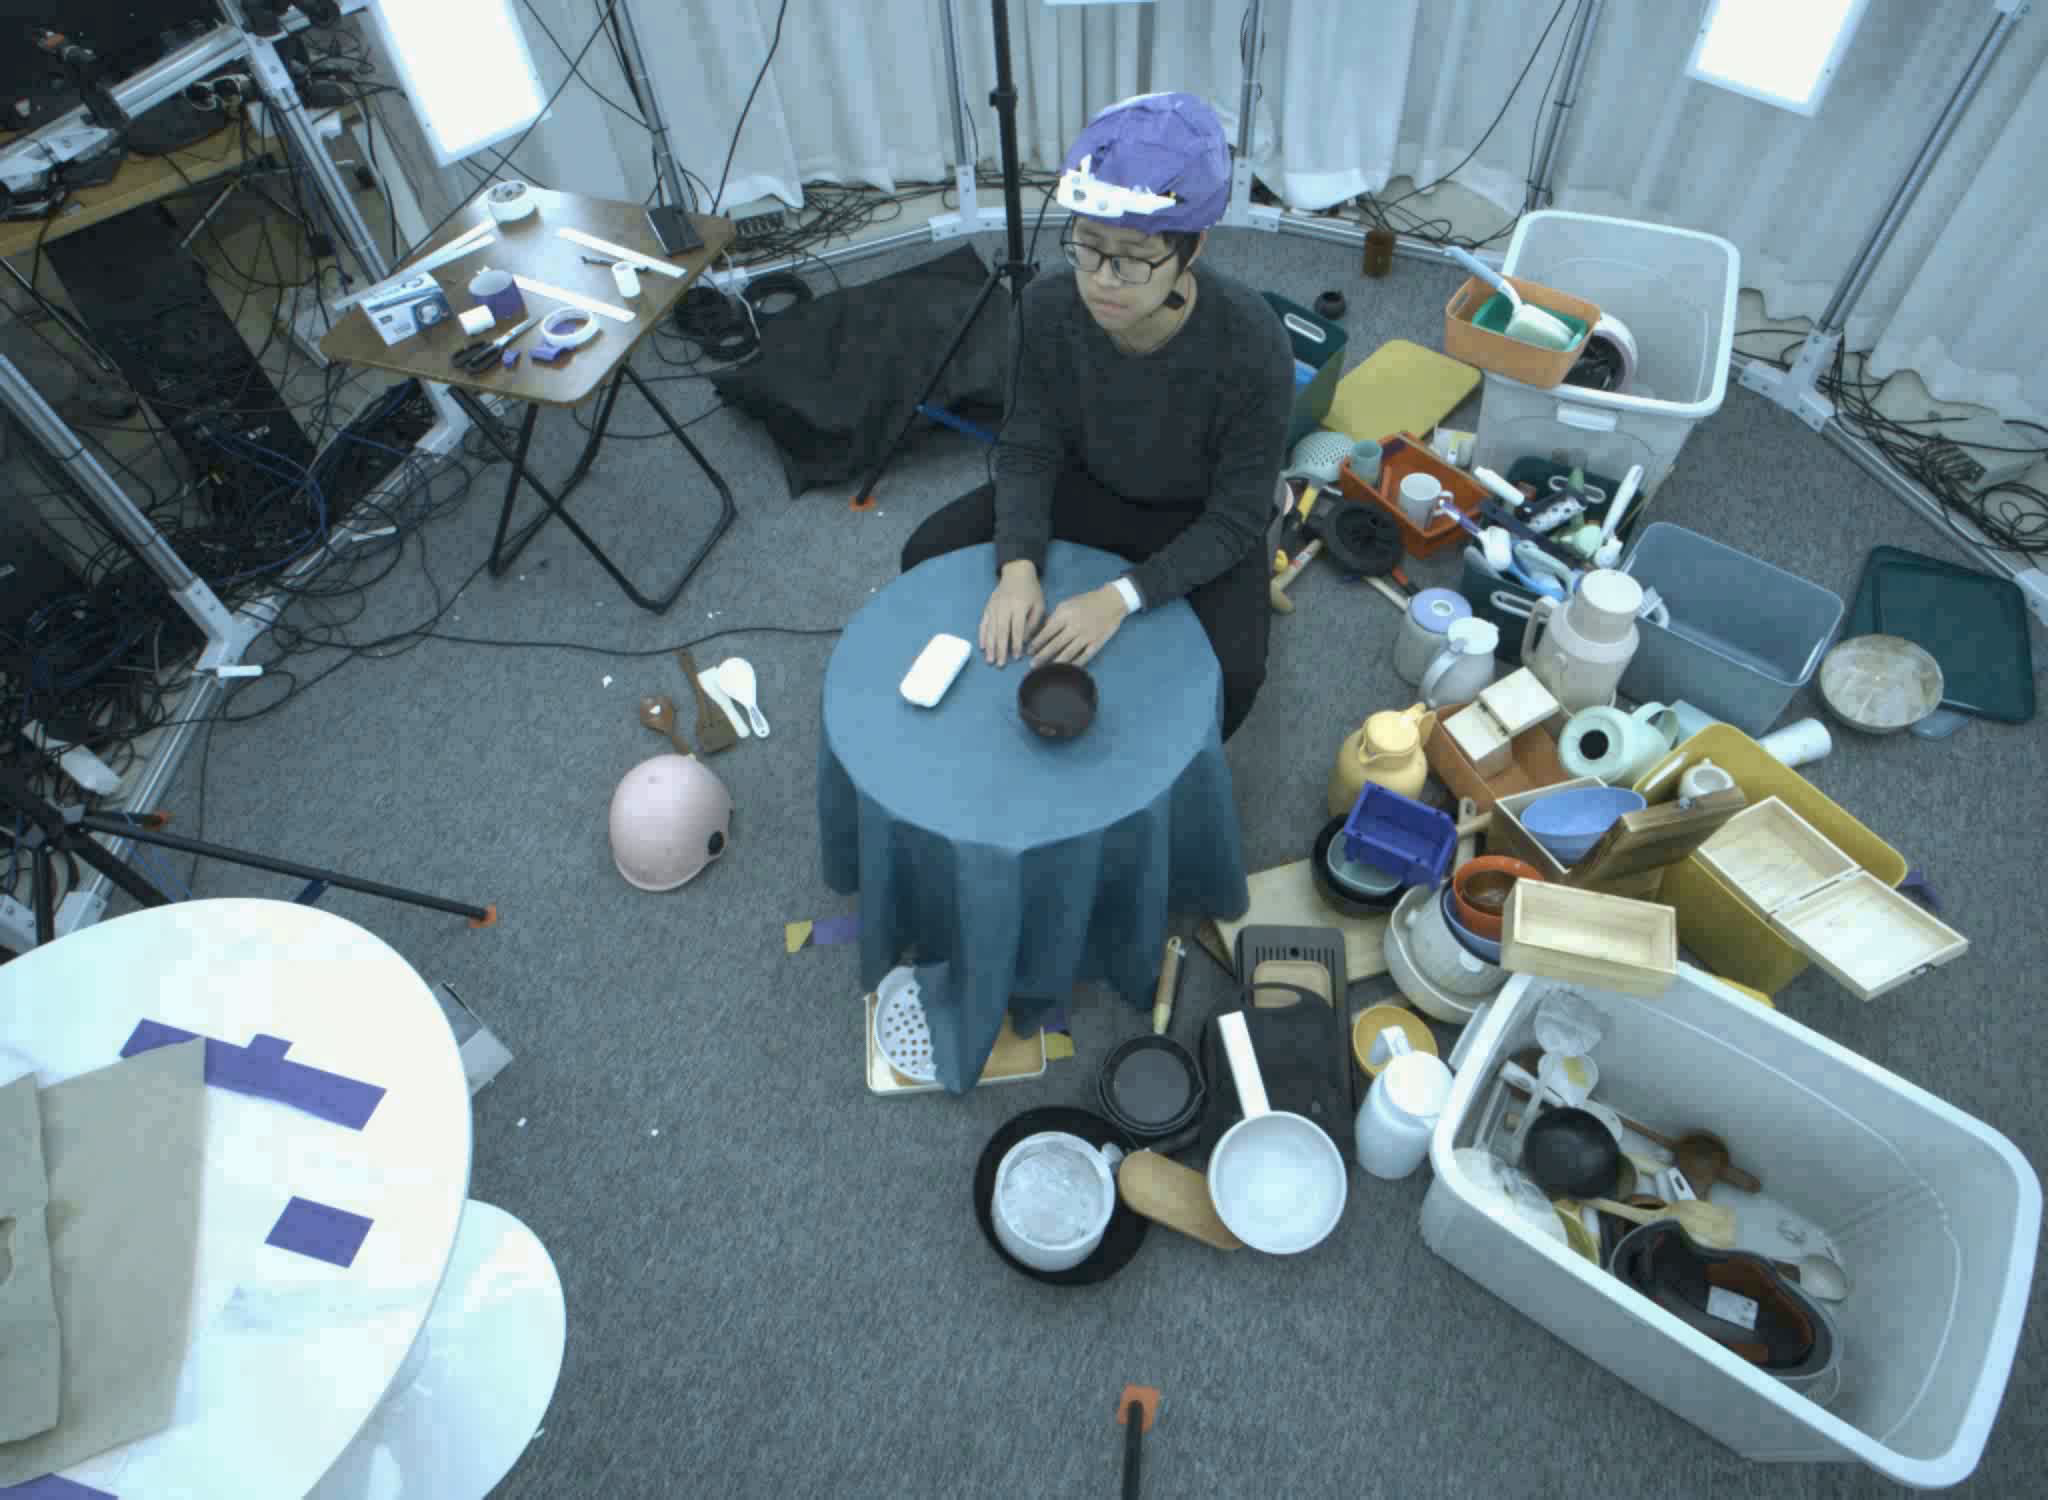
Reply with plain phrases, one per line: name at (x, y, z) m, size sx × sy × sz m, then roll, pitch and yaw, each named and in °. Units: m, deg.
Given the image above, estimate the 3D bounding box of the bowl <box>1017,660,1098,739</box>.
bowl at (0.049, -0.065, 1.788) m, size 0.118 × 0.070 × 0.117 m, roll -1°, pitch 54°, yaw 2°

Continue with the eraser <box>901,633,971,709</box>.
eraser at (-0.131, -0.121, 1.859) m, size 0.062 × 0.035 × 0.131 m, roll 22°, pitch 59°, yaw 16°
